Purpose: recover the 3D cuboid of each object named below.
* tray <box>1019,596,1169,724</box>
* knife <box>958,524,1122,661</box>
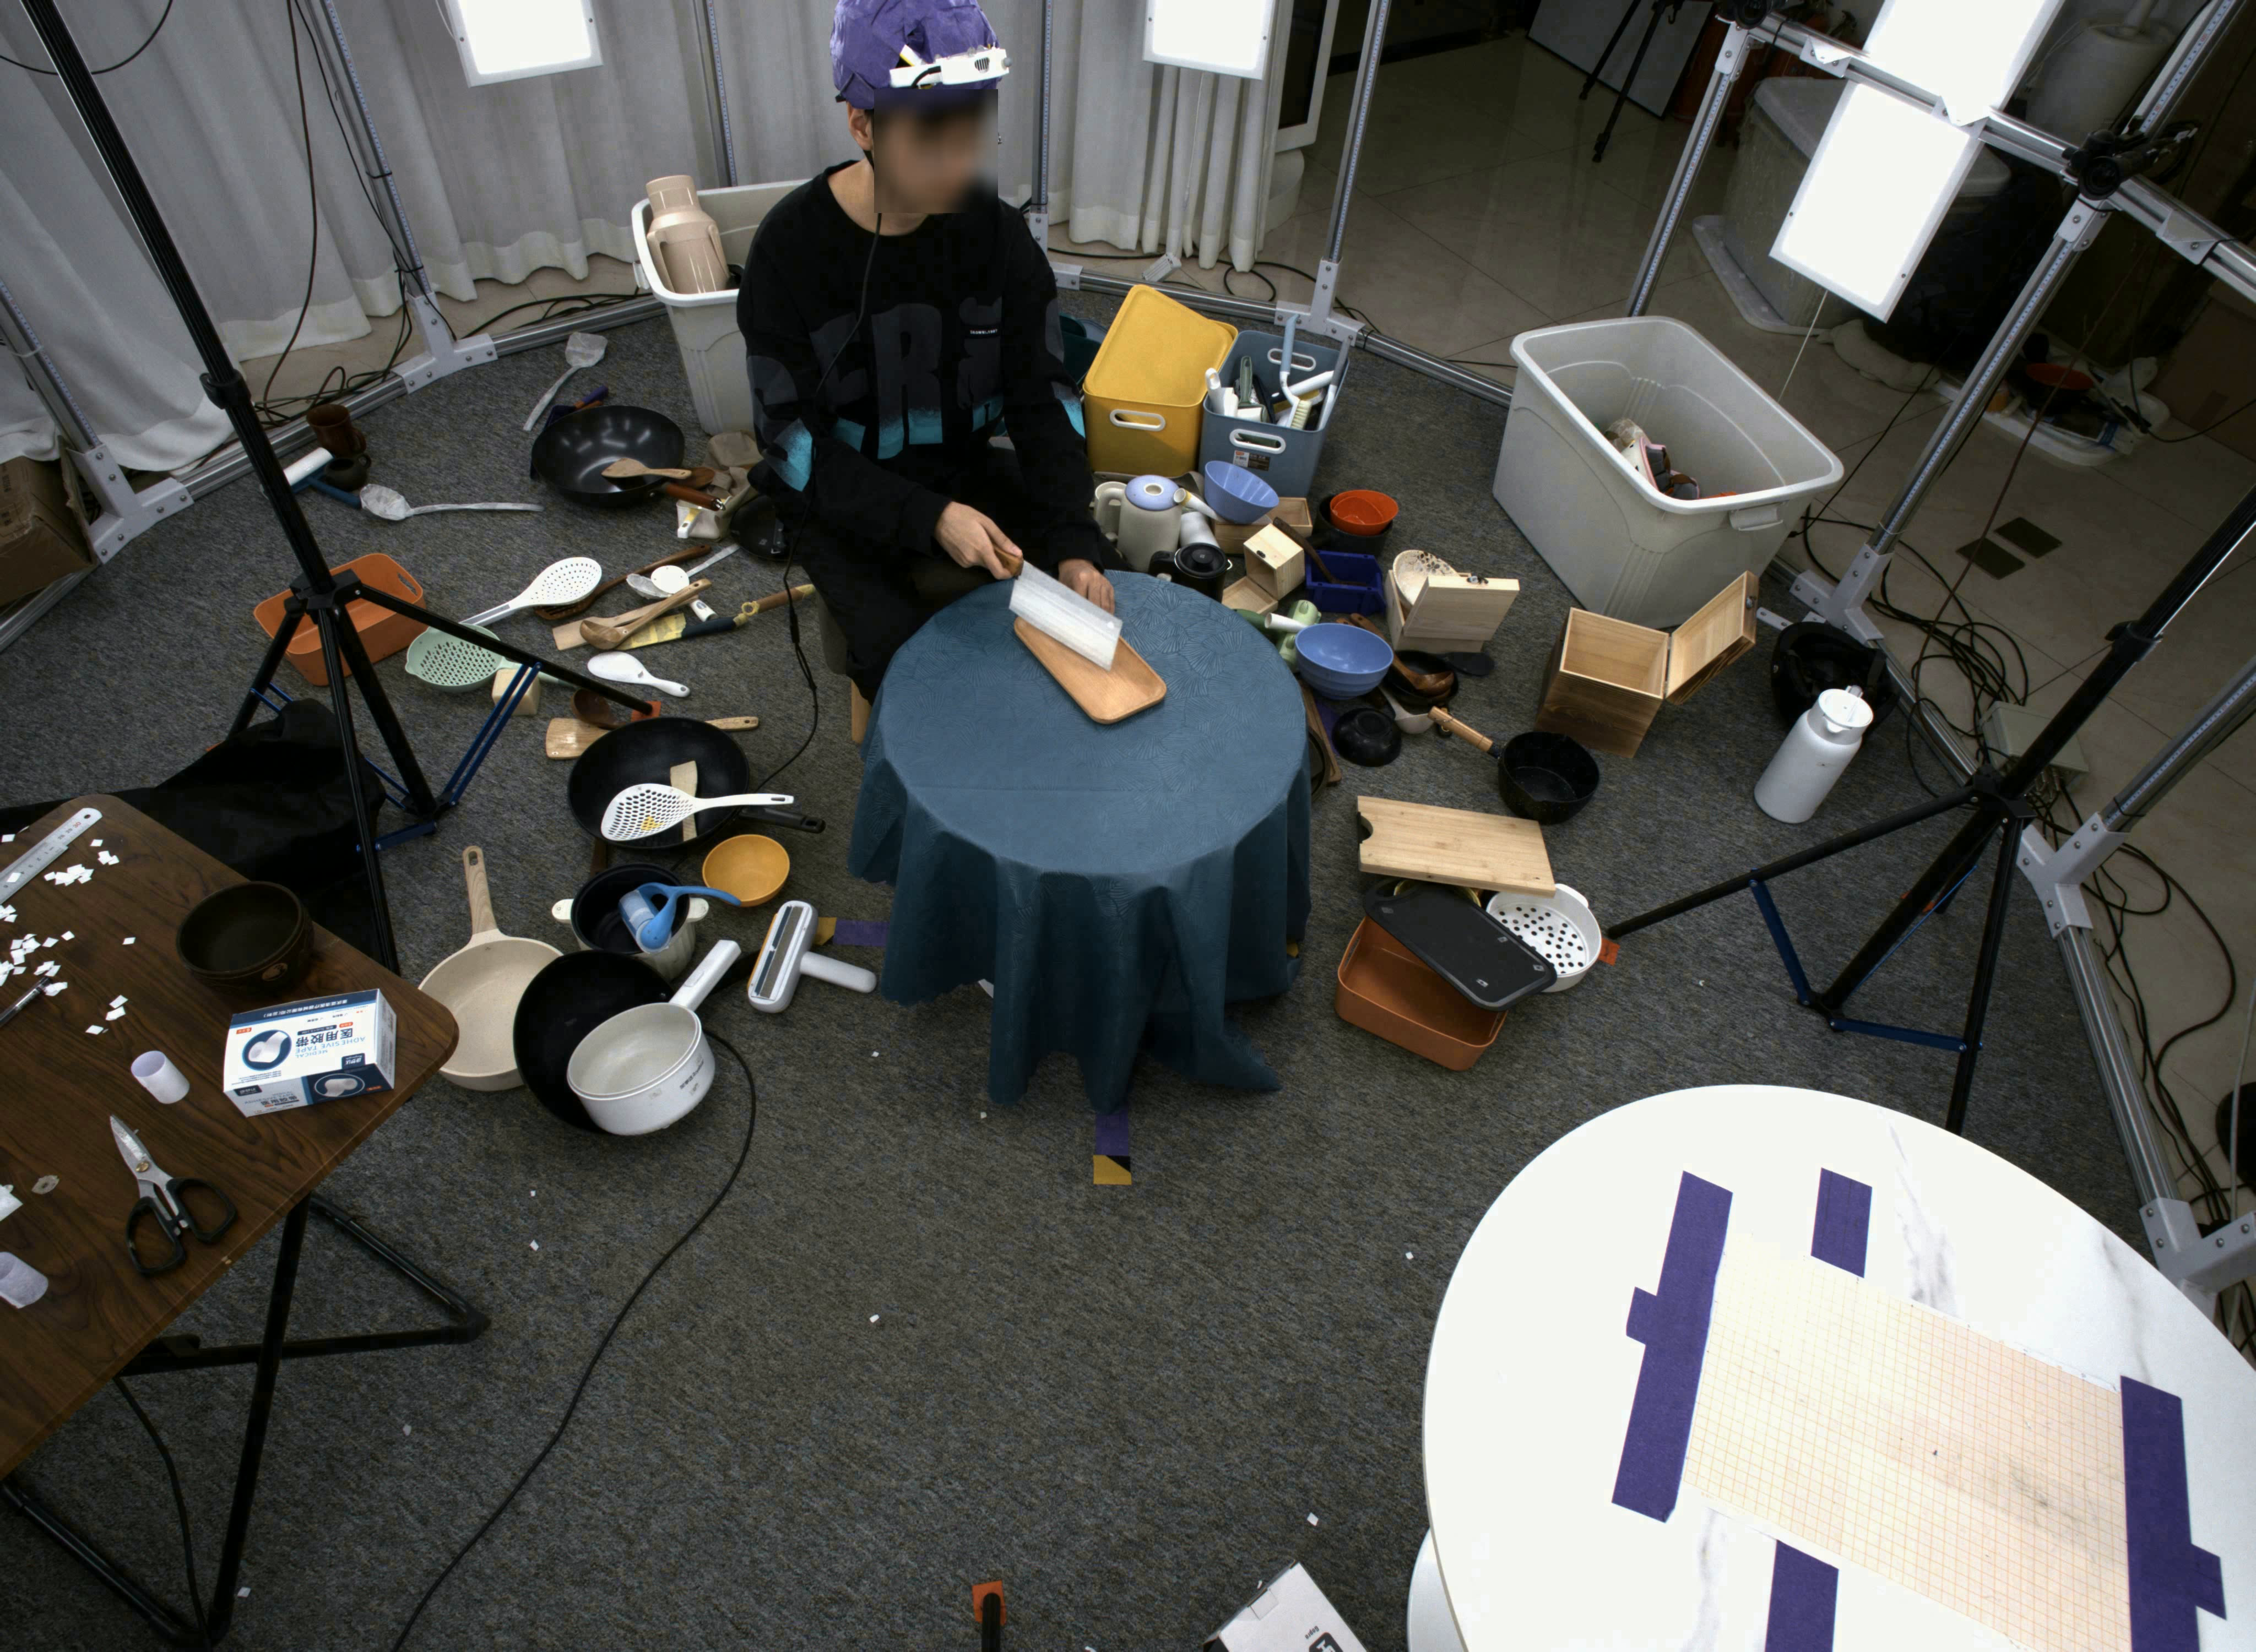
[{"bbox_3d":[-0.052,-0.244,1.867,0.131,0.022,0.256,-22,53,-24],"label":"tray"},{"bbox_3d":[-0.133,-0.333,1.859,0.309,0.091,0.021,35,44,21],"label":"knife"}]
